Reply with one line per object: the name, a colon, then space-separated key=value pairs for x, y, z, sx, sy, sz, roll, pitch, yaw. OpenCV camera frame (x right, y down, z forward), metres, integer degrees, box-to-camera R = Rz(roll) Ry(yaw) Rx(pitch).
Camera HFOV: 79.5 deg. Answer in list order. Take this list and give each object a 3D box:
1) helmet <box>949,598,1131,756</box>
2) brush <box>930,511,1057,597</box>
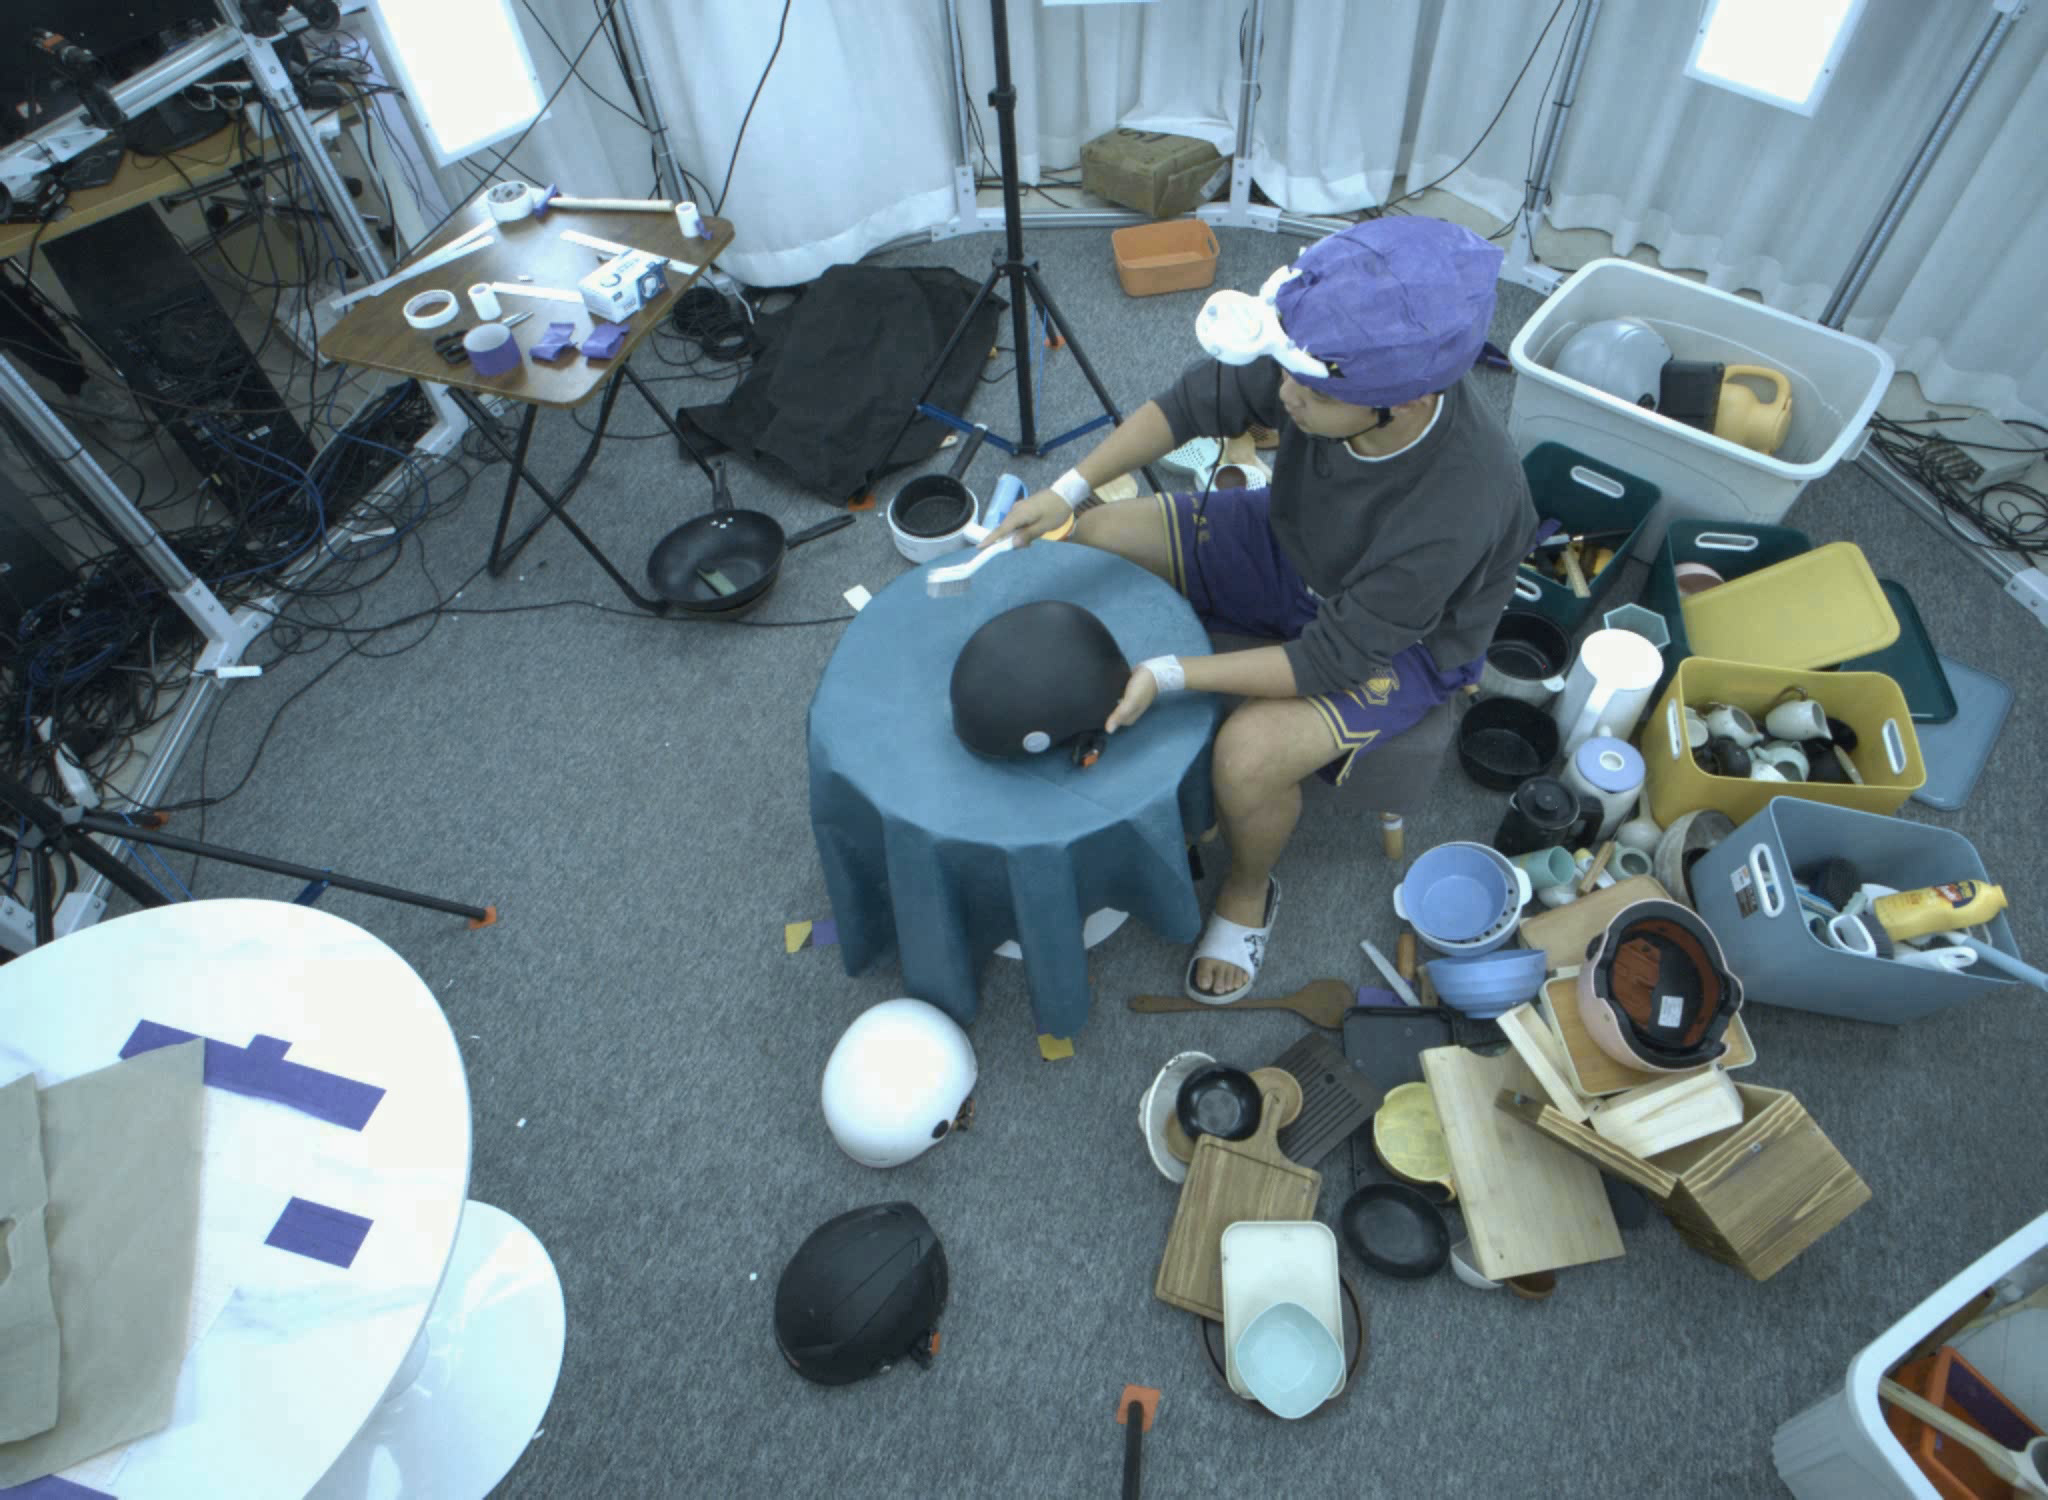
helmet: x=0.014 y=-0.121 z=1.770 sx=0.274 sy=0.169 sz=0.226 roll=-18 pitch=46 yaw=-6
brush: x=-0.042 y=-0.296 z=1.866 sx=0.246 sy=0.051 sz=0.033 roll=-33 pitch=35 yaw=-25
